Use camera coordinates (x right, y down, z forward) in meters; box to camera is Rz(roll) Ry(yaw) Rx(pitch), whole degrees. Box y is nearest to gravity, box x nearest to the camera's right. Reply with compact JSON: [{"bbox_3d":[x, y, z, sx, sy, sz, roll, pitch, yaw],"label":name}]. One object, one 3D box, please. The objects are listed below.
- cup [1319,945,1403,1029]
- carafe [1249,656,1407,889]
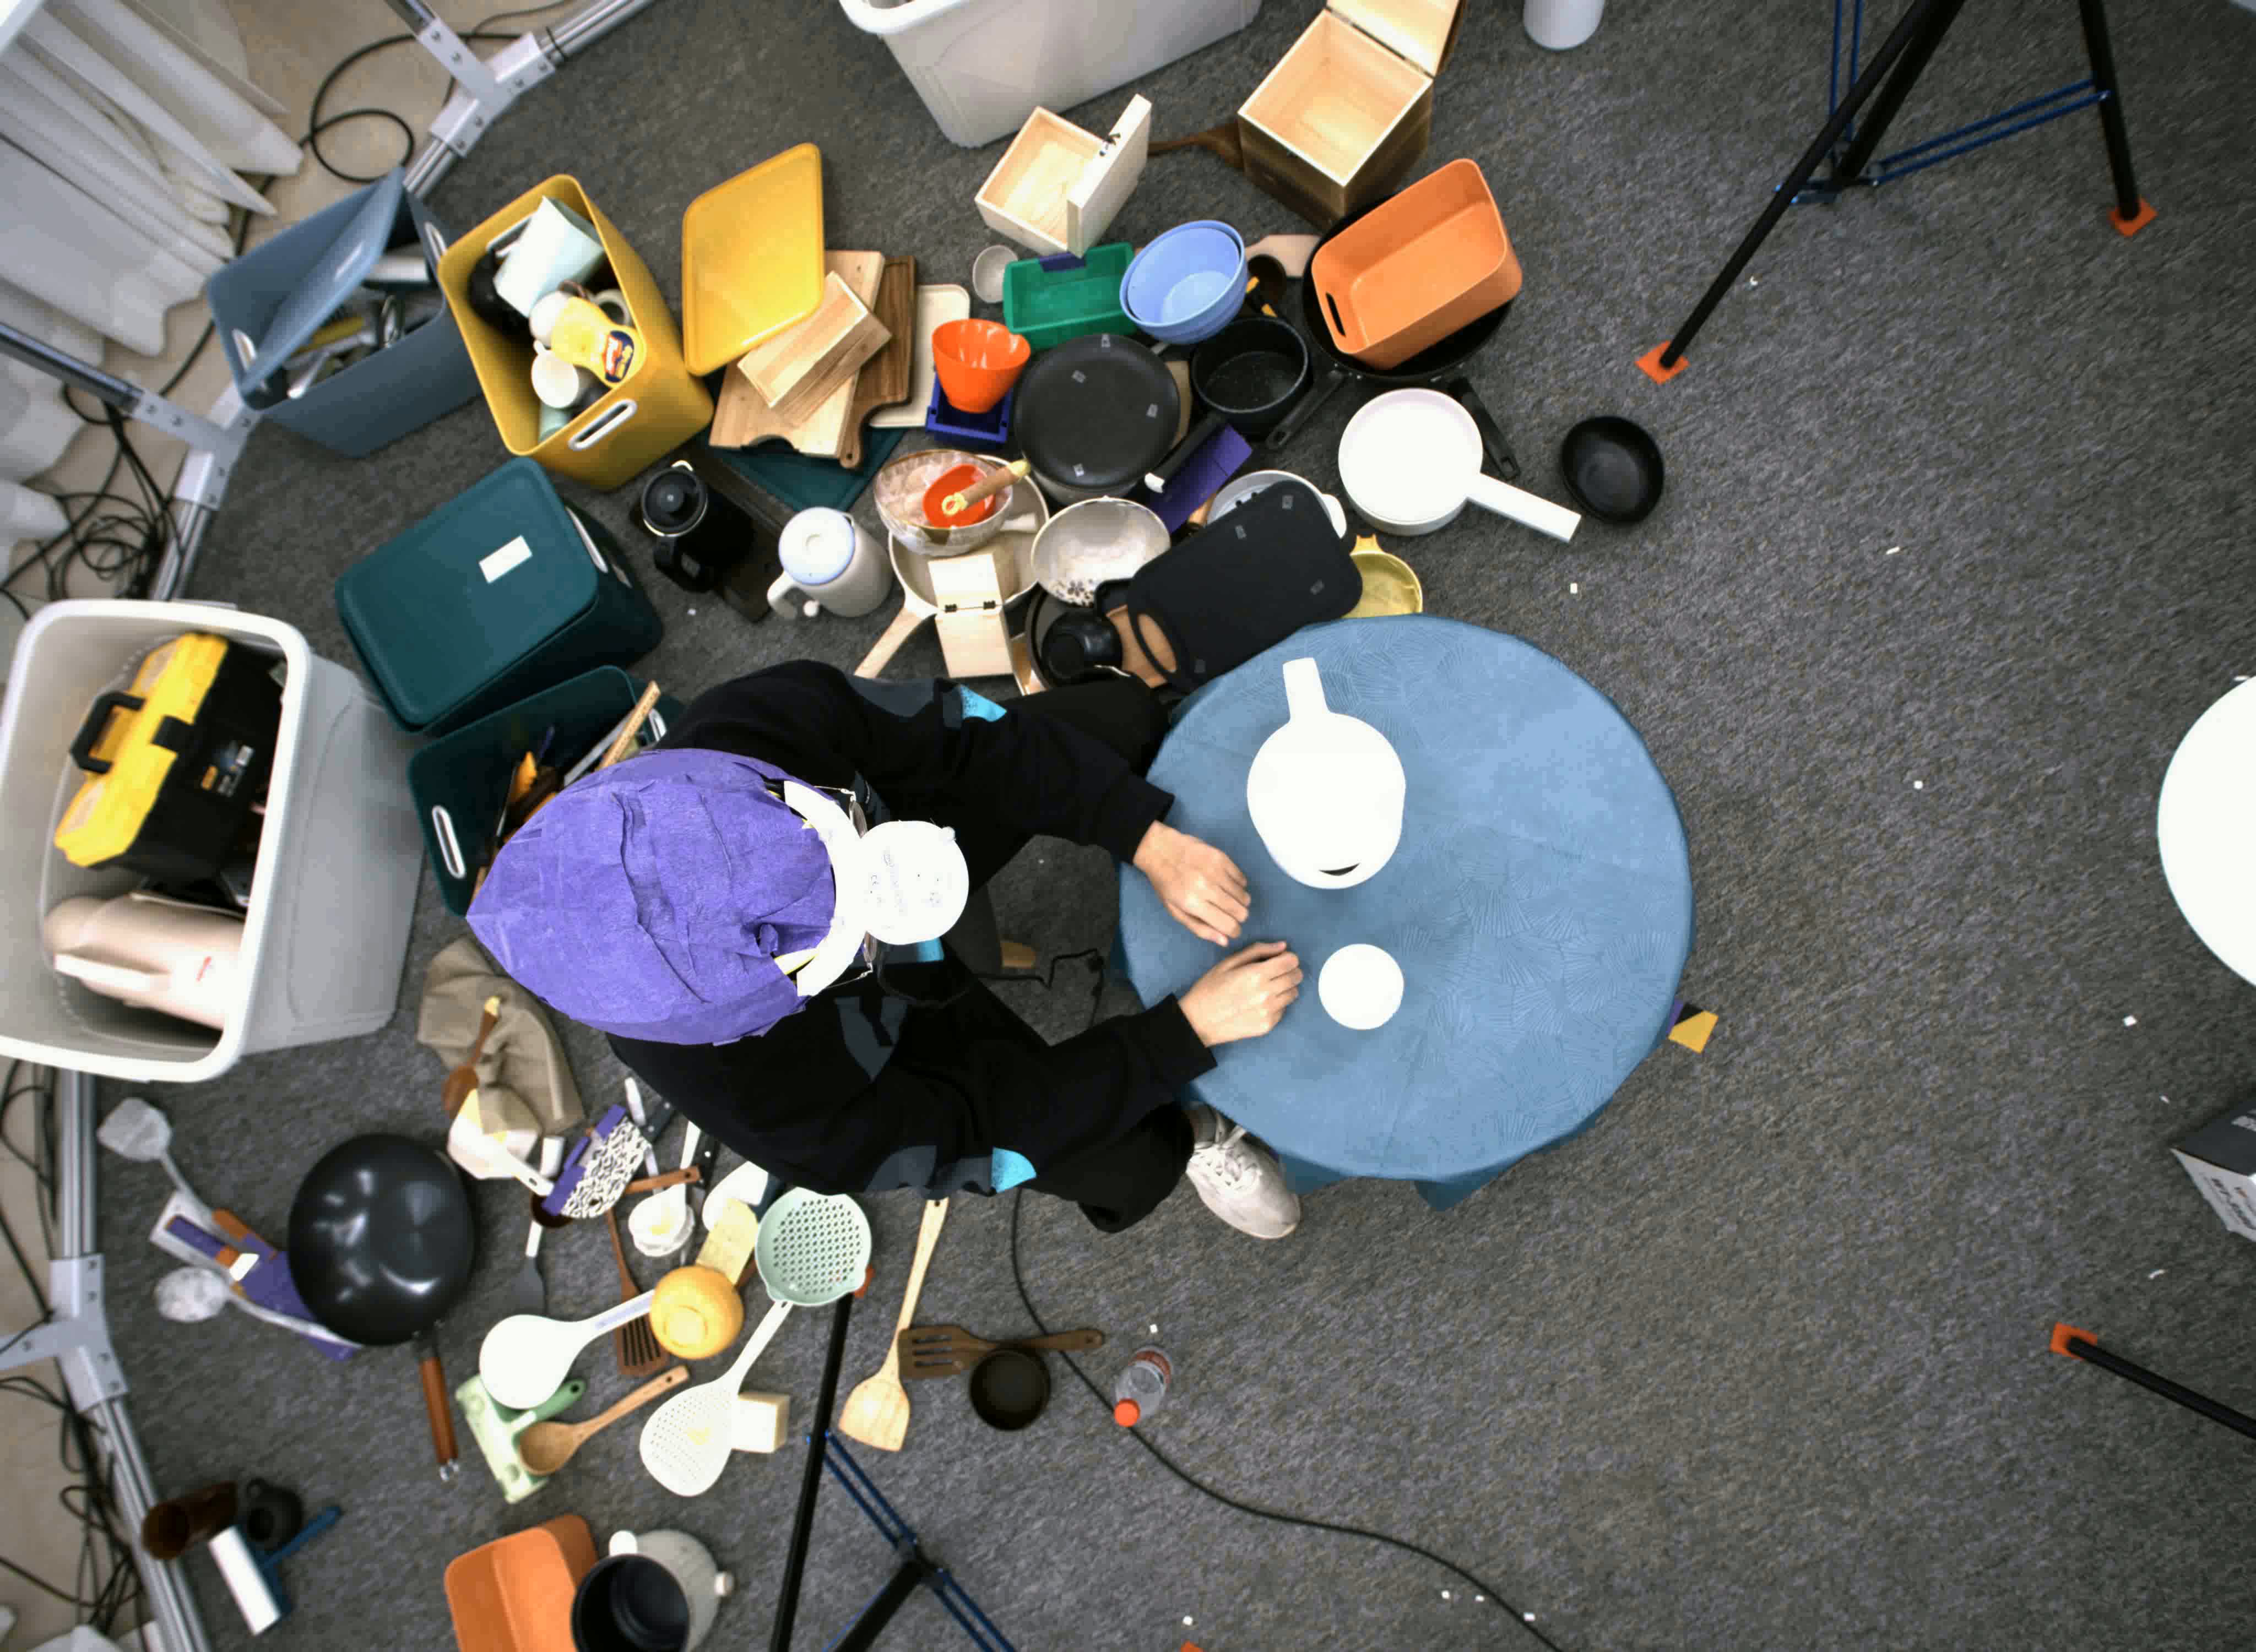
[{"bbox_3d":[0.235,0.160,1.394,0.082,0.125,0.081,-1,85,10],"label":"cup"},{"bbox_3d":[0.194,-0.047,1.358,0.153,0.240,0.212,-11,85,7],"label":"carafe"}]
